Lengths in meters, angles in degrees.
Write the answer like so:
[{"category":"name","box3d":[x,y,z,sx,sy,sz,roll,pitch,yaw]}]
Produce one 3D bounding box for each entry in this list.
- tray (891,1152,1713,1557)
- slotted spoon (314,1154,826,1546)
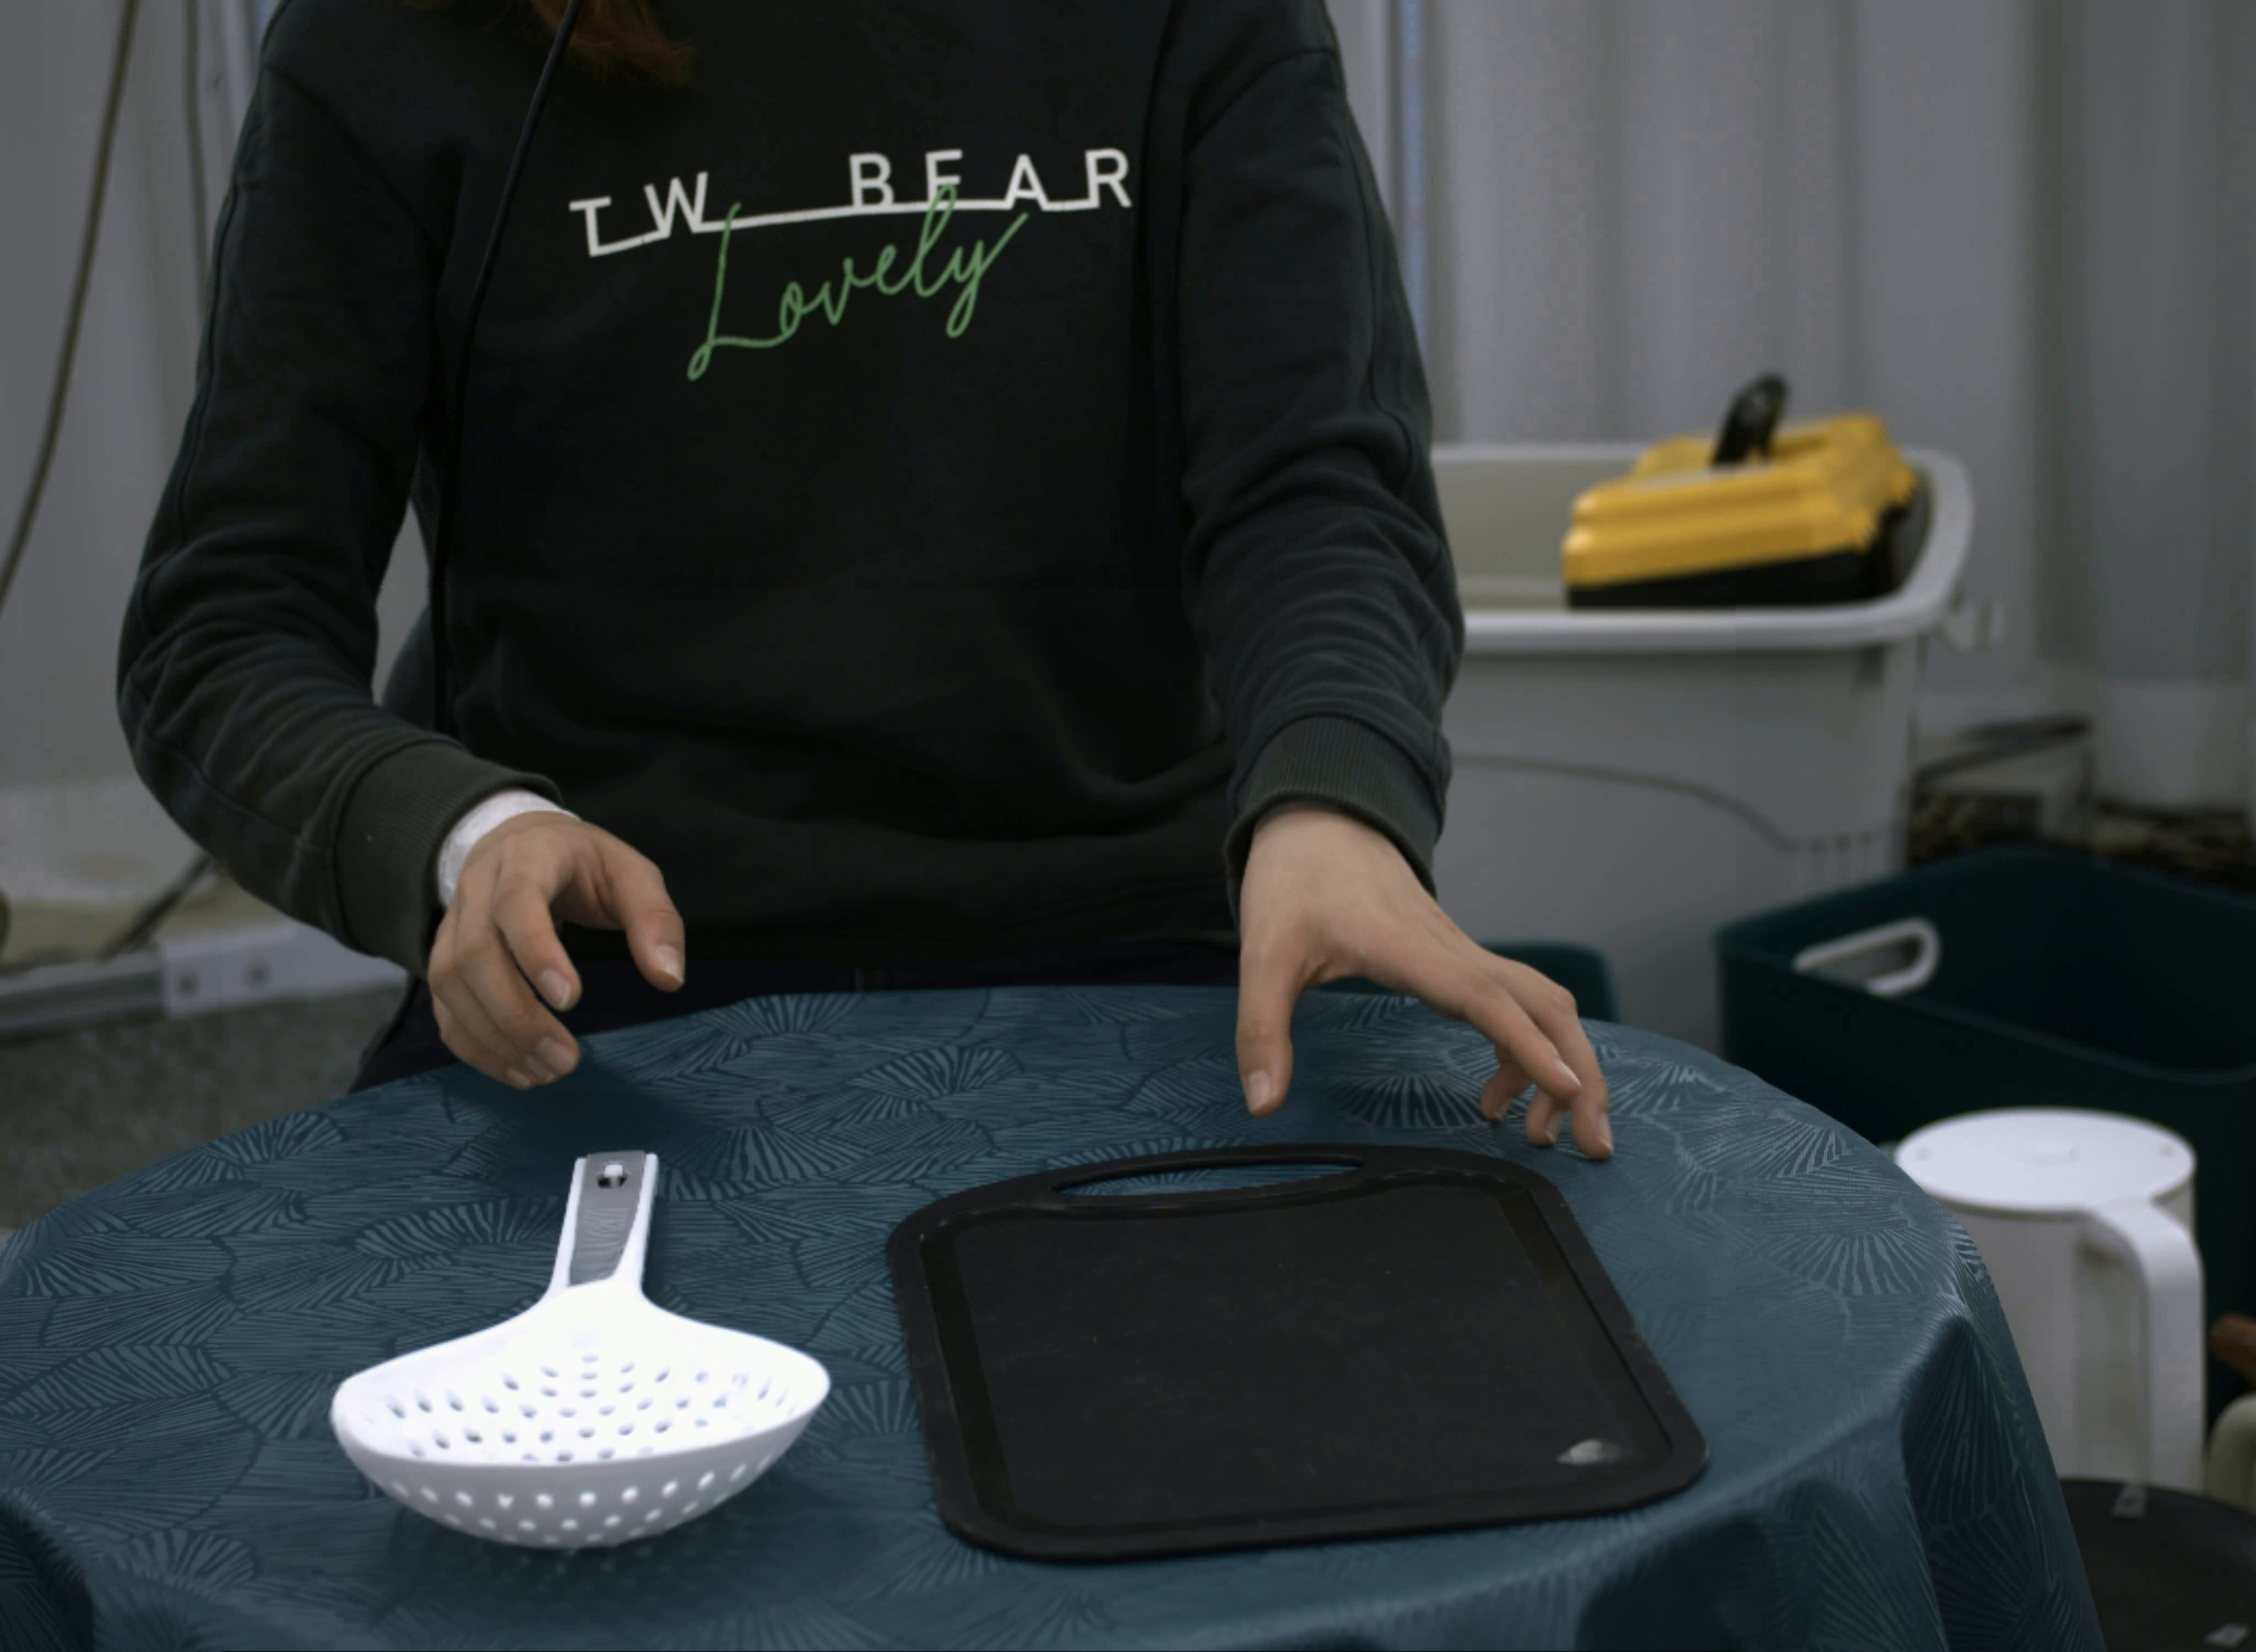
[{"category":"tray","box3d":[0.041,0.145,1.581,0.210,0.010,0.328,-4,15,-5]},{"category":"slotted spoon","box3d":[-0.153,0.140,1.560,0.135,0.045,0.352,-1,14,-2]}]
